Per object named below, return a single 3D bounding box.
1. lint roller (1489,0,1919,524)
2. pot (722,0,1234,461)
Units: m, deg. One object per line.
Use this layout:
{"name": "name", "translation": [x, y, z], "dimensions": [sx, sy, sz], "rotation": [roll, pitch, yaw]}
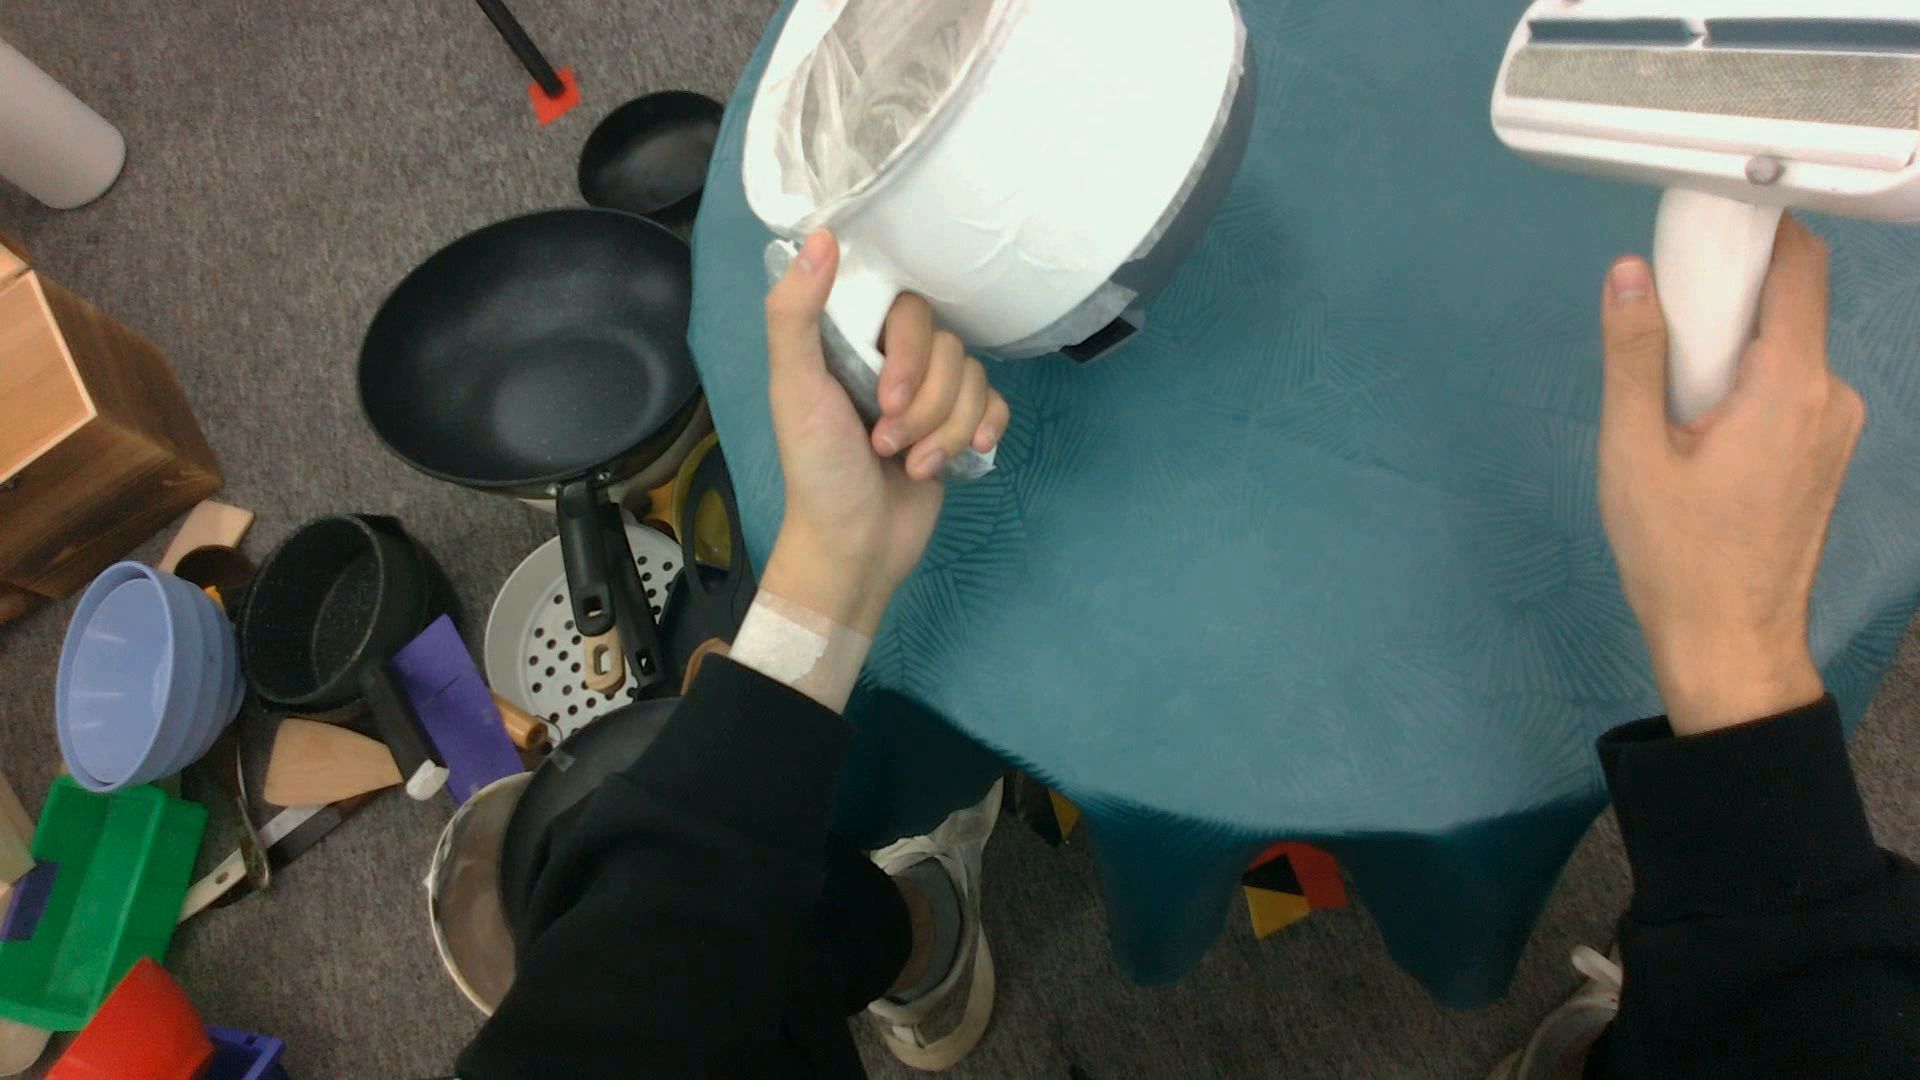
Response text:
{"name": "lint roller", "translation": [0.237, -0.093, 0.450], "dimensions": [0.074, 0.191, 0.193], "rotation": [-3, 27, -19]}
{"name": "pot", "translation": [-0.002, -0.155, 0.544], "dimensions": [0.178, 0.136, 0.234], "rotation": [9, 75, 56]}
